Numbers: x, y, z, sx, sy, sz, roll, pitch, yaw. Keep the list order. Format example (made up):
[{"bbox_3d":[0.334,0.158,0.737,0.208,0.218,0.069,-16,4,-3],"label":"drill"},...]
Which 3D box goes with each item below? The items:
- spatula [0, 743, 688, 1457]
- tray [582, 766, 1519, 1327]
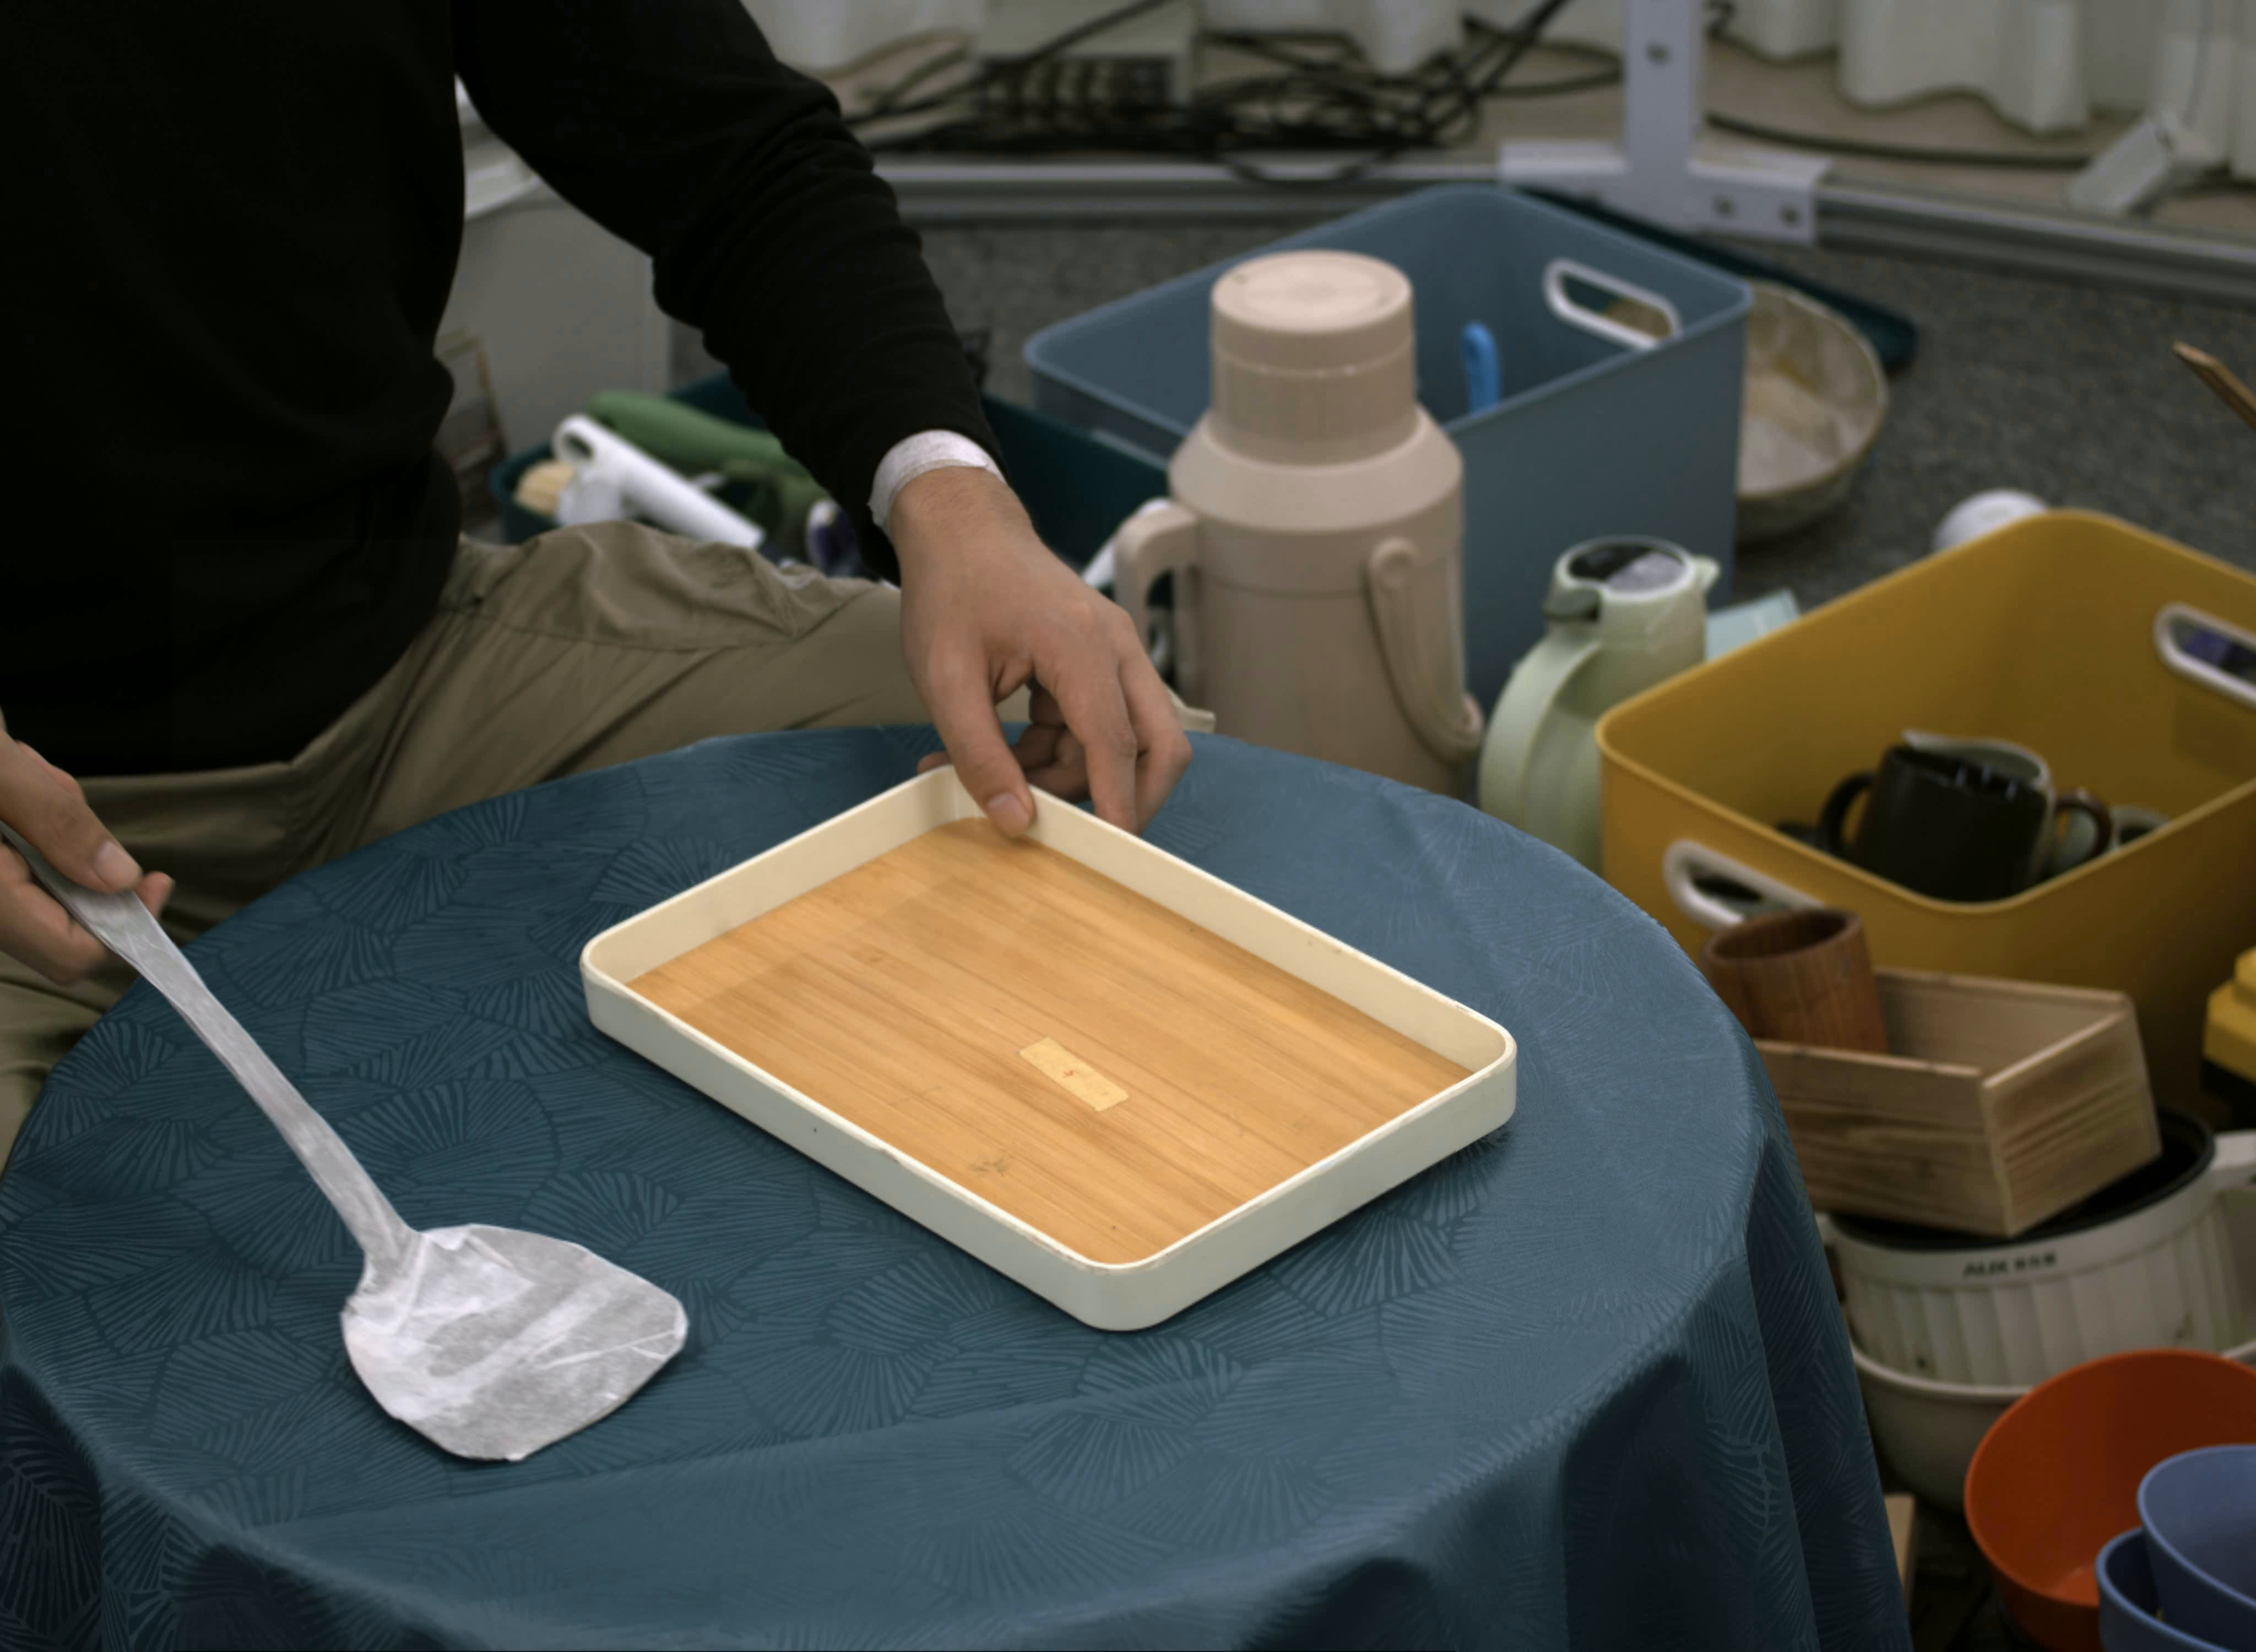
[{"bbox_3d":[-0.289,0.069,1.821,0.100,0.044,0.366,-31,69,-36],"label":"spatula"},{"bbox_3d":[-0.030,0.070,1.924,0.194,0.027,0.300,-26,36,-33],"label":"tray"}]
